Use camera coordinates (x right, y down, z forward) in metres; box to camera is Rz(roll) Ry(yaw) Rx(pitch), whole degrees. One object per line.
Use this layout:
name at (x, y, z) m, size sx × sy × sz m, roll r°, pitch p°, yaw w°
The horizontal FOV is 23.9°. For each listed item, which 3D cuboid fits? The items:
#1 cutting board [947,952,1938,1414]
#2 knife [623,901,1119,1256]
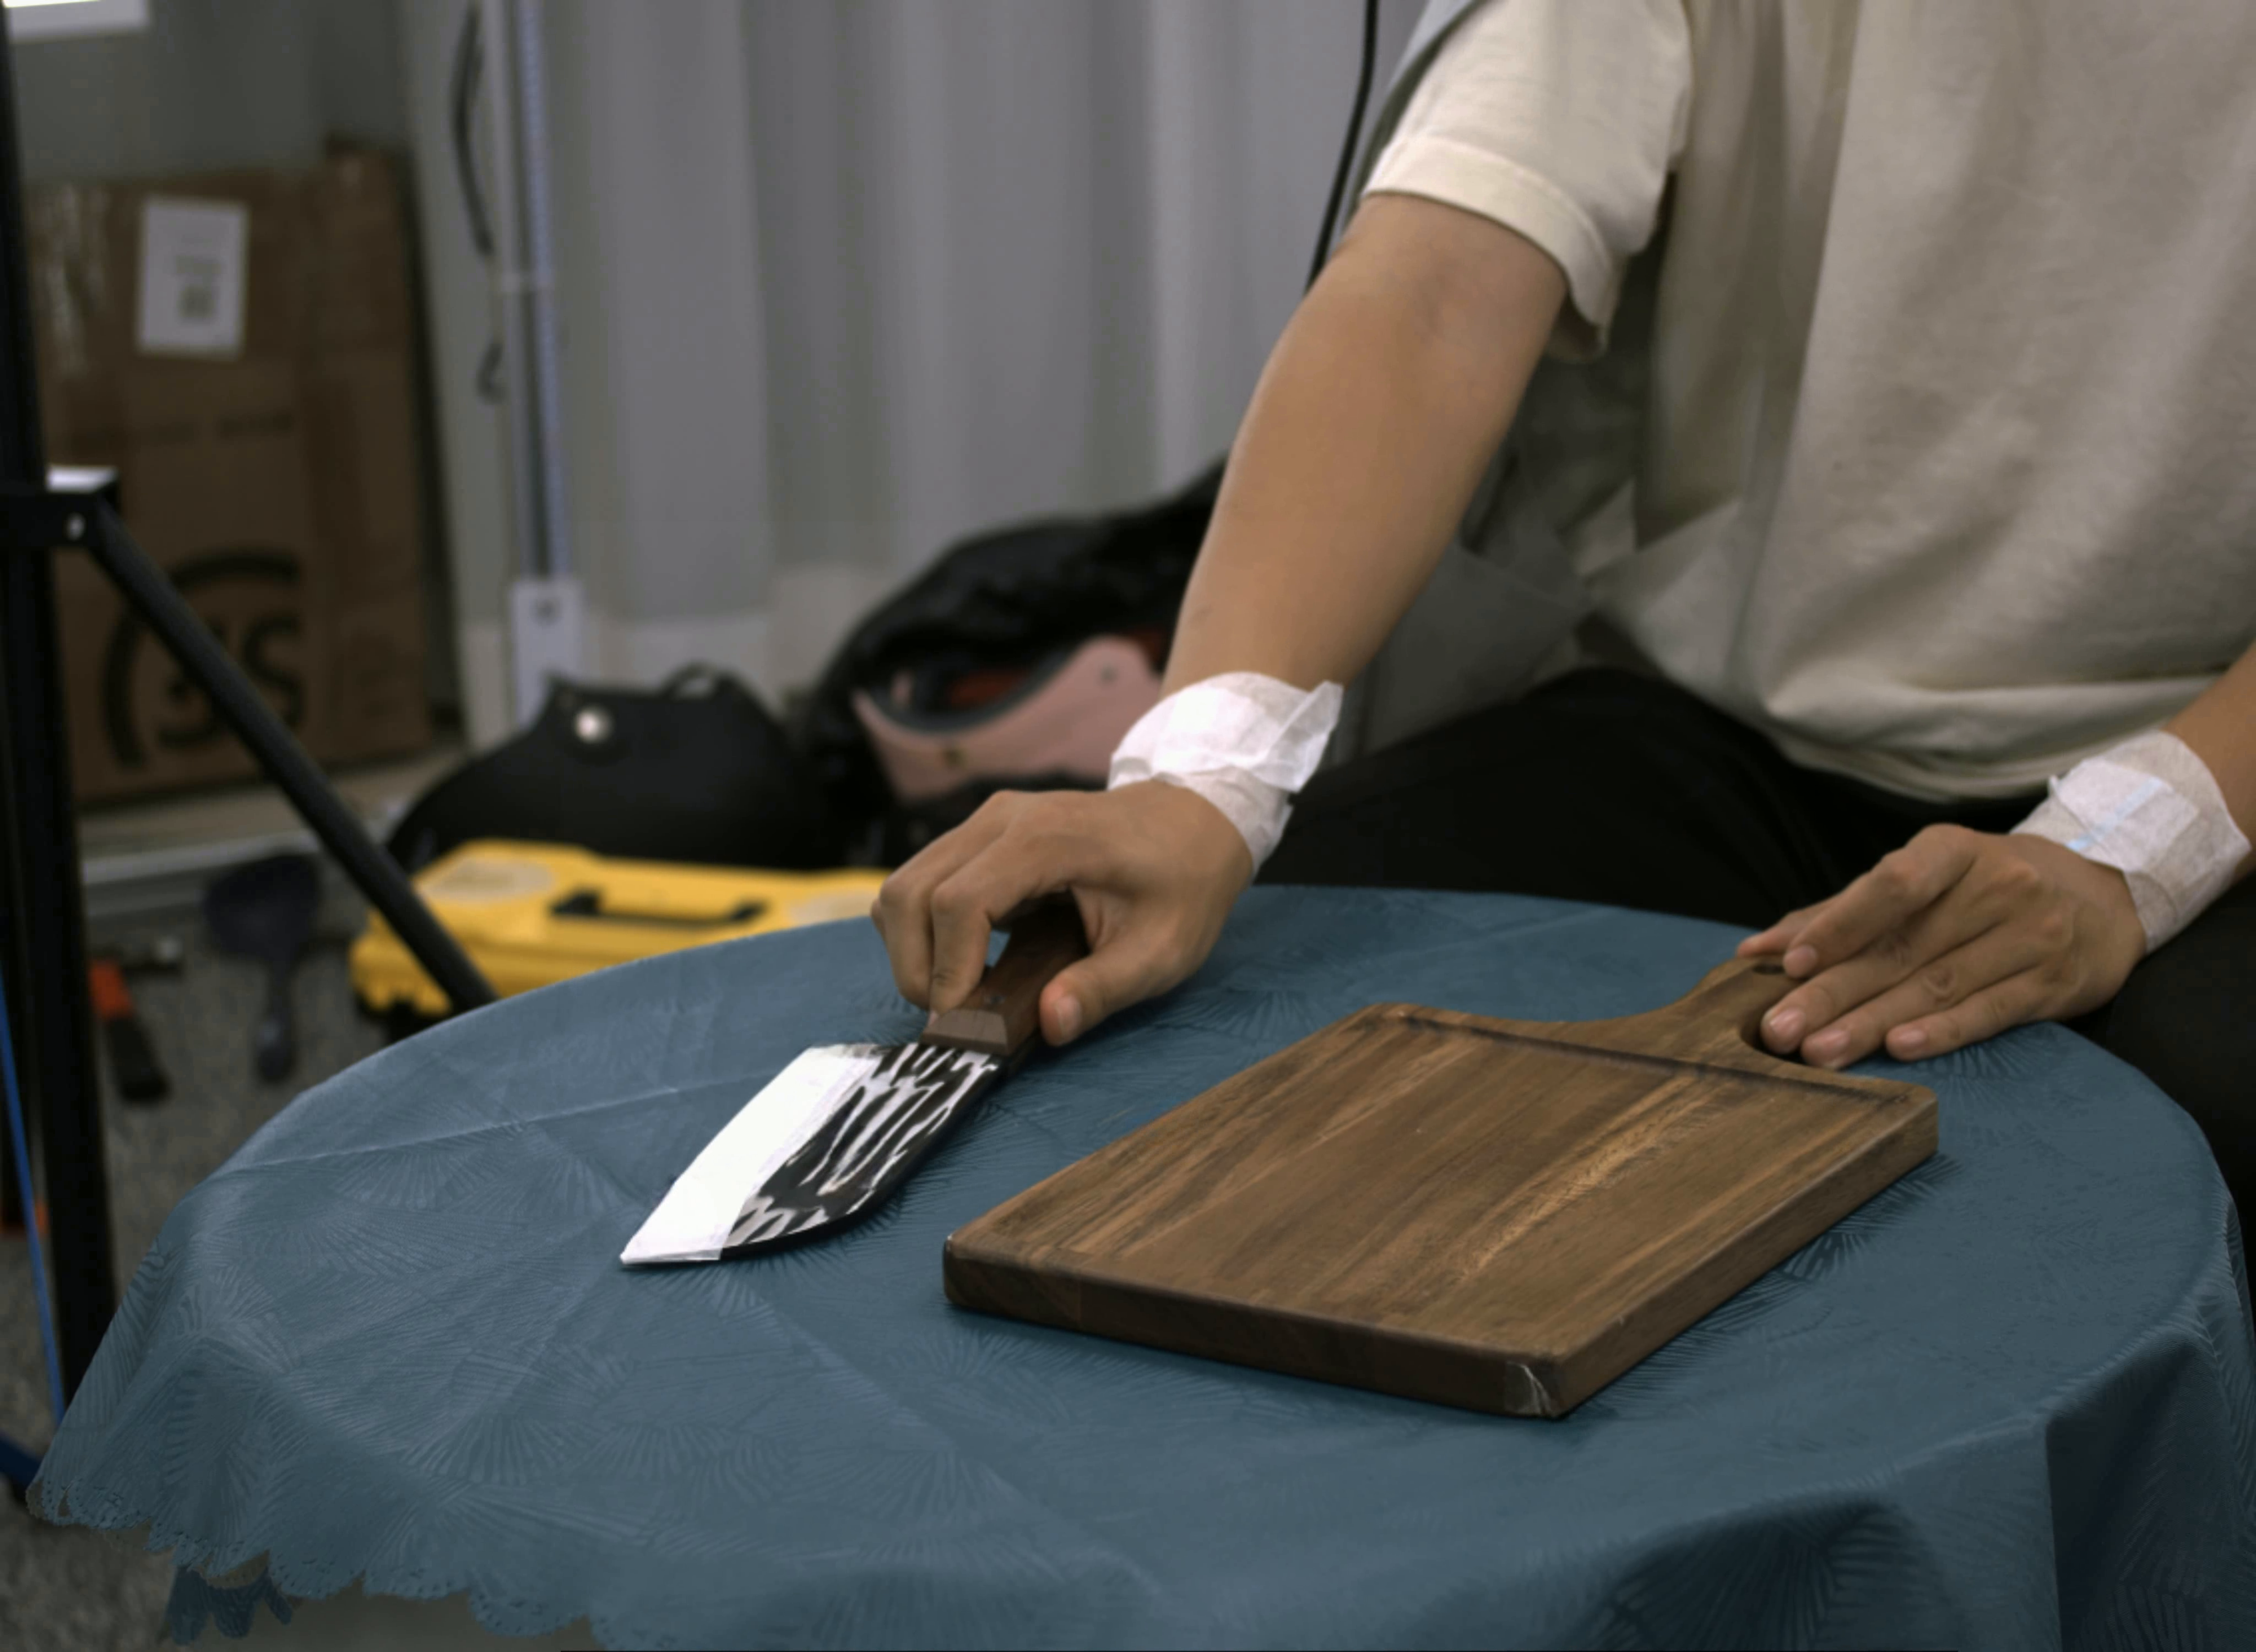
cutting board at (0.121, 0.093, 1.553) m, size 0.205 × 0.023 × 0.345 m, roll 7°, pitch 18°, yaw 32°
knife at (-0.074, 0.078, 1.637) m, size 0.069 × 0.024 × 0.296 m, roll 3°, pitch 19°, yaw 19°
